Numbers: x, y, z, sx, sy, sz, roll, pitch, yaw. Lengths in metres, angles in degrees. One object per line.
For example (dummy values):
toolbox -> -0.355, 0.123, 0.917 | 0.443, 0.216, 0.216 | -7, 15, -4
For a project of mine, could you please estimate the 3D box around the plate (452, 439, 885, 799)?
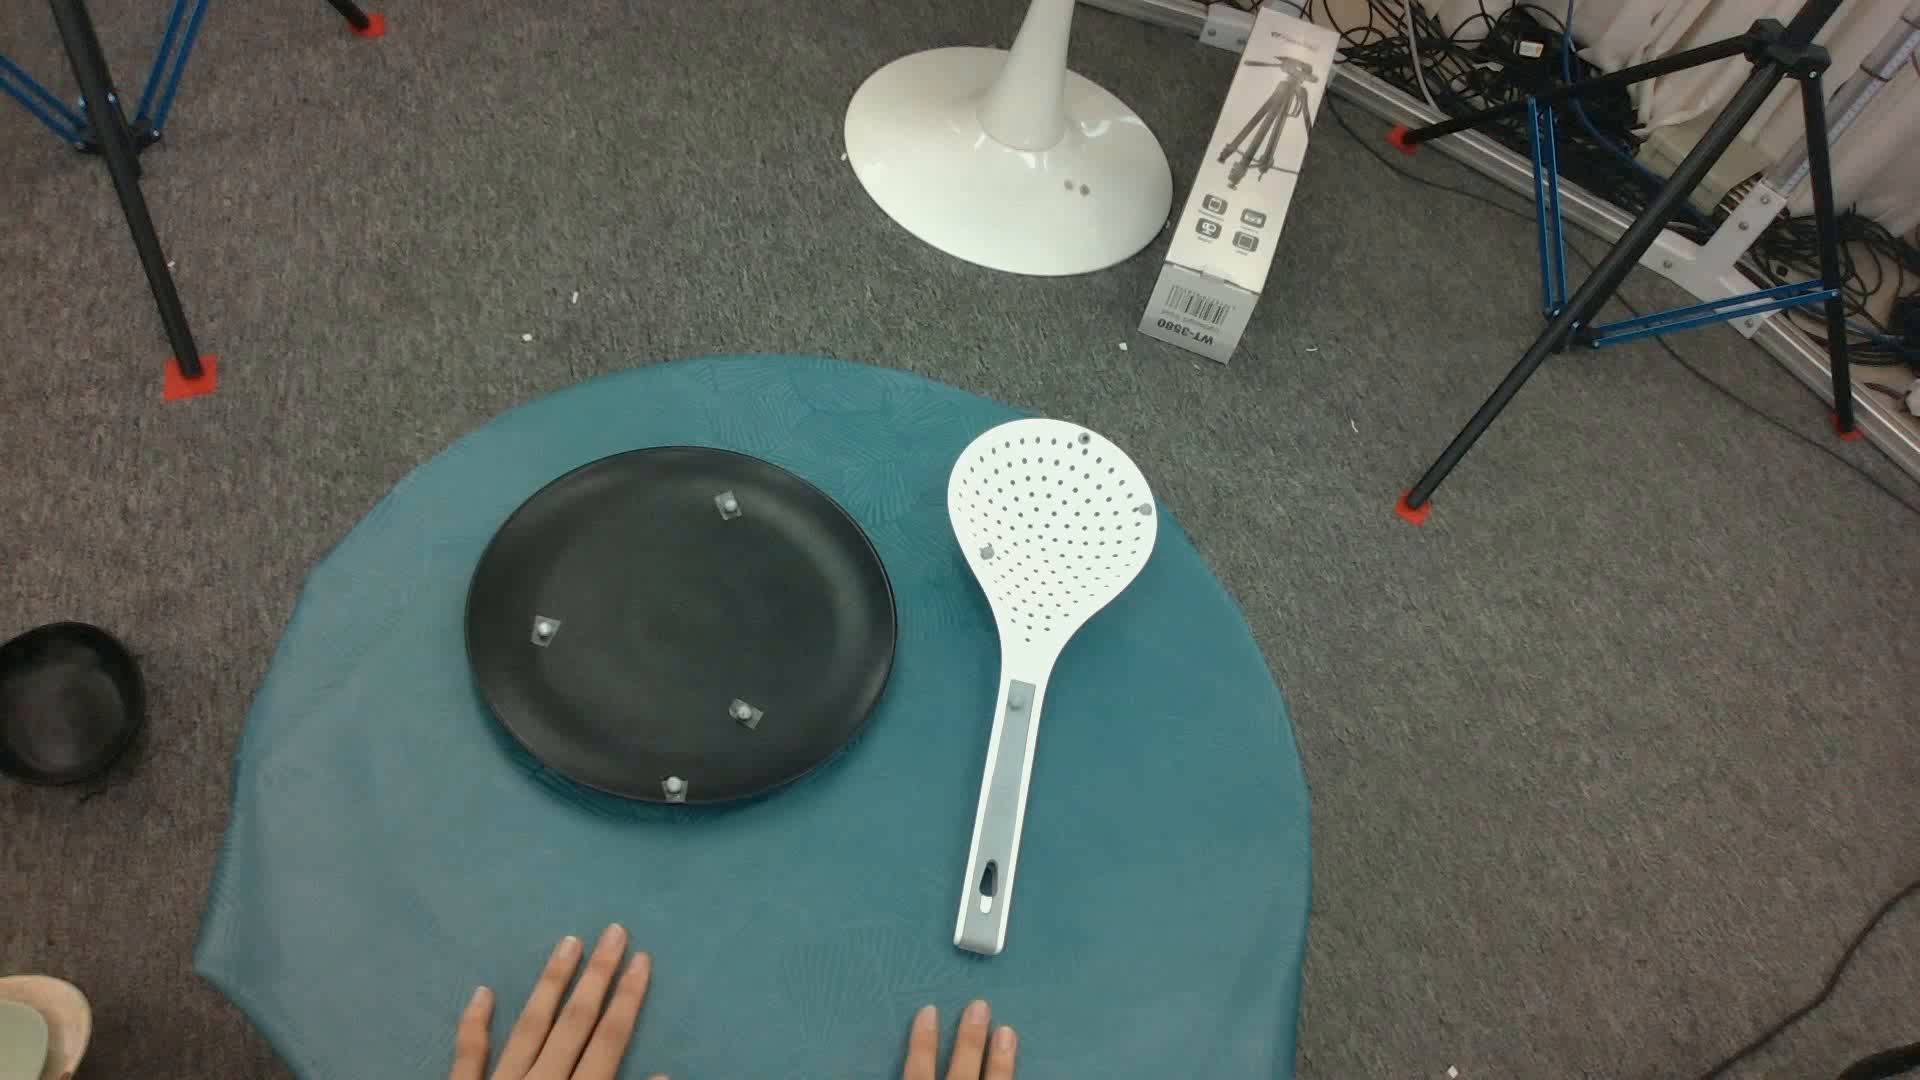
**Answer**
plate -> -0.165, 0.042, 0.801 | 0.244, 0.023, 0.245 | 8, 53, -10

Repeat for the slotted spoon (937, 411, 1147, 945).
slotted spoon -> 0.033, 0.068, 0.823 | 0.136, 0.045, 0.351 | 14, 53, -3
